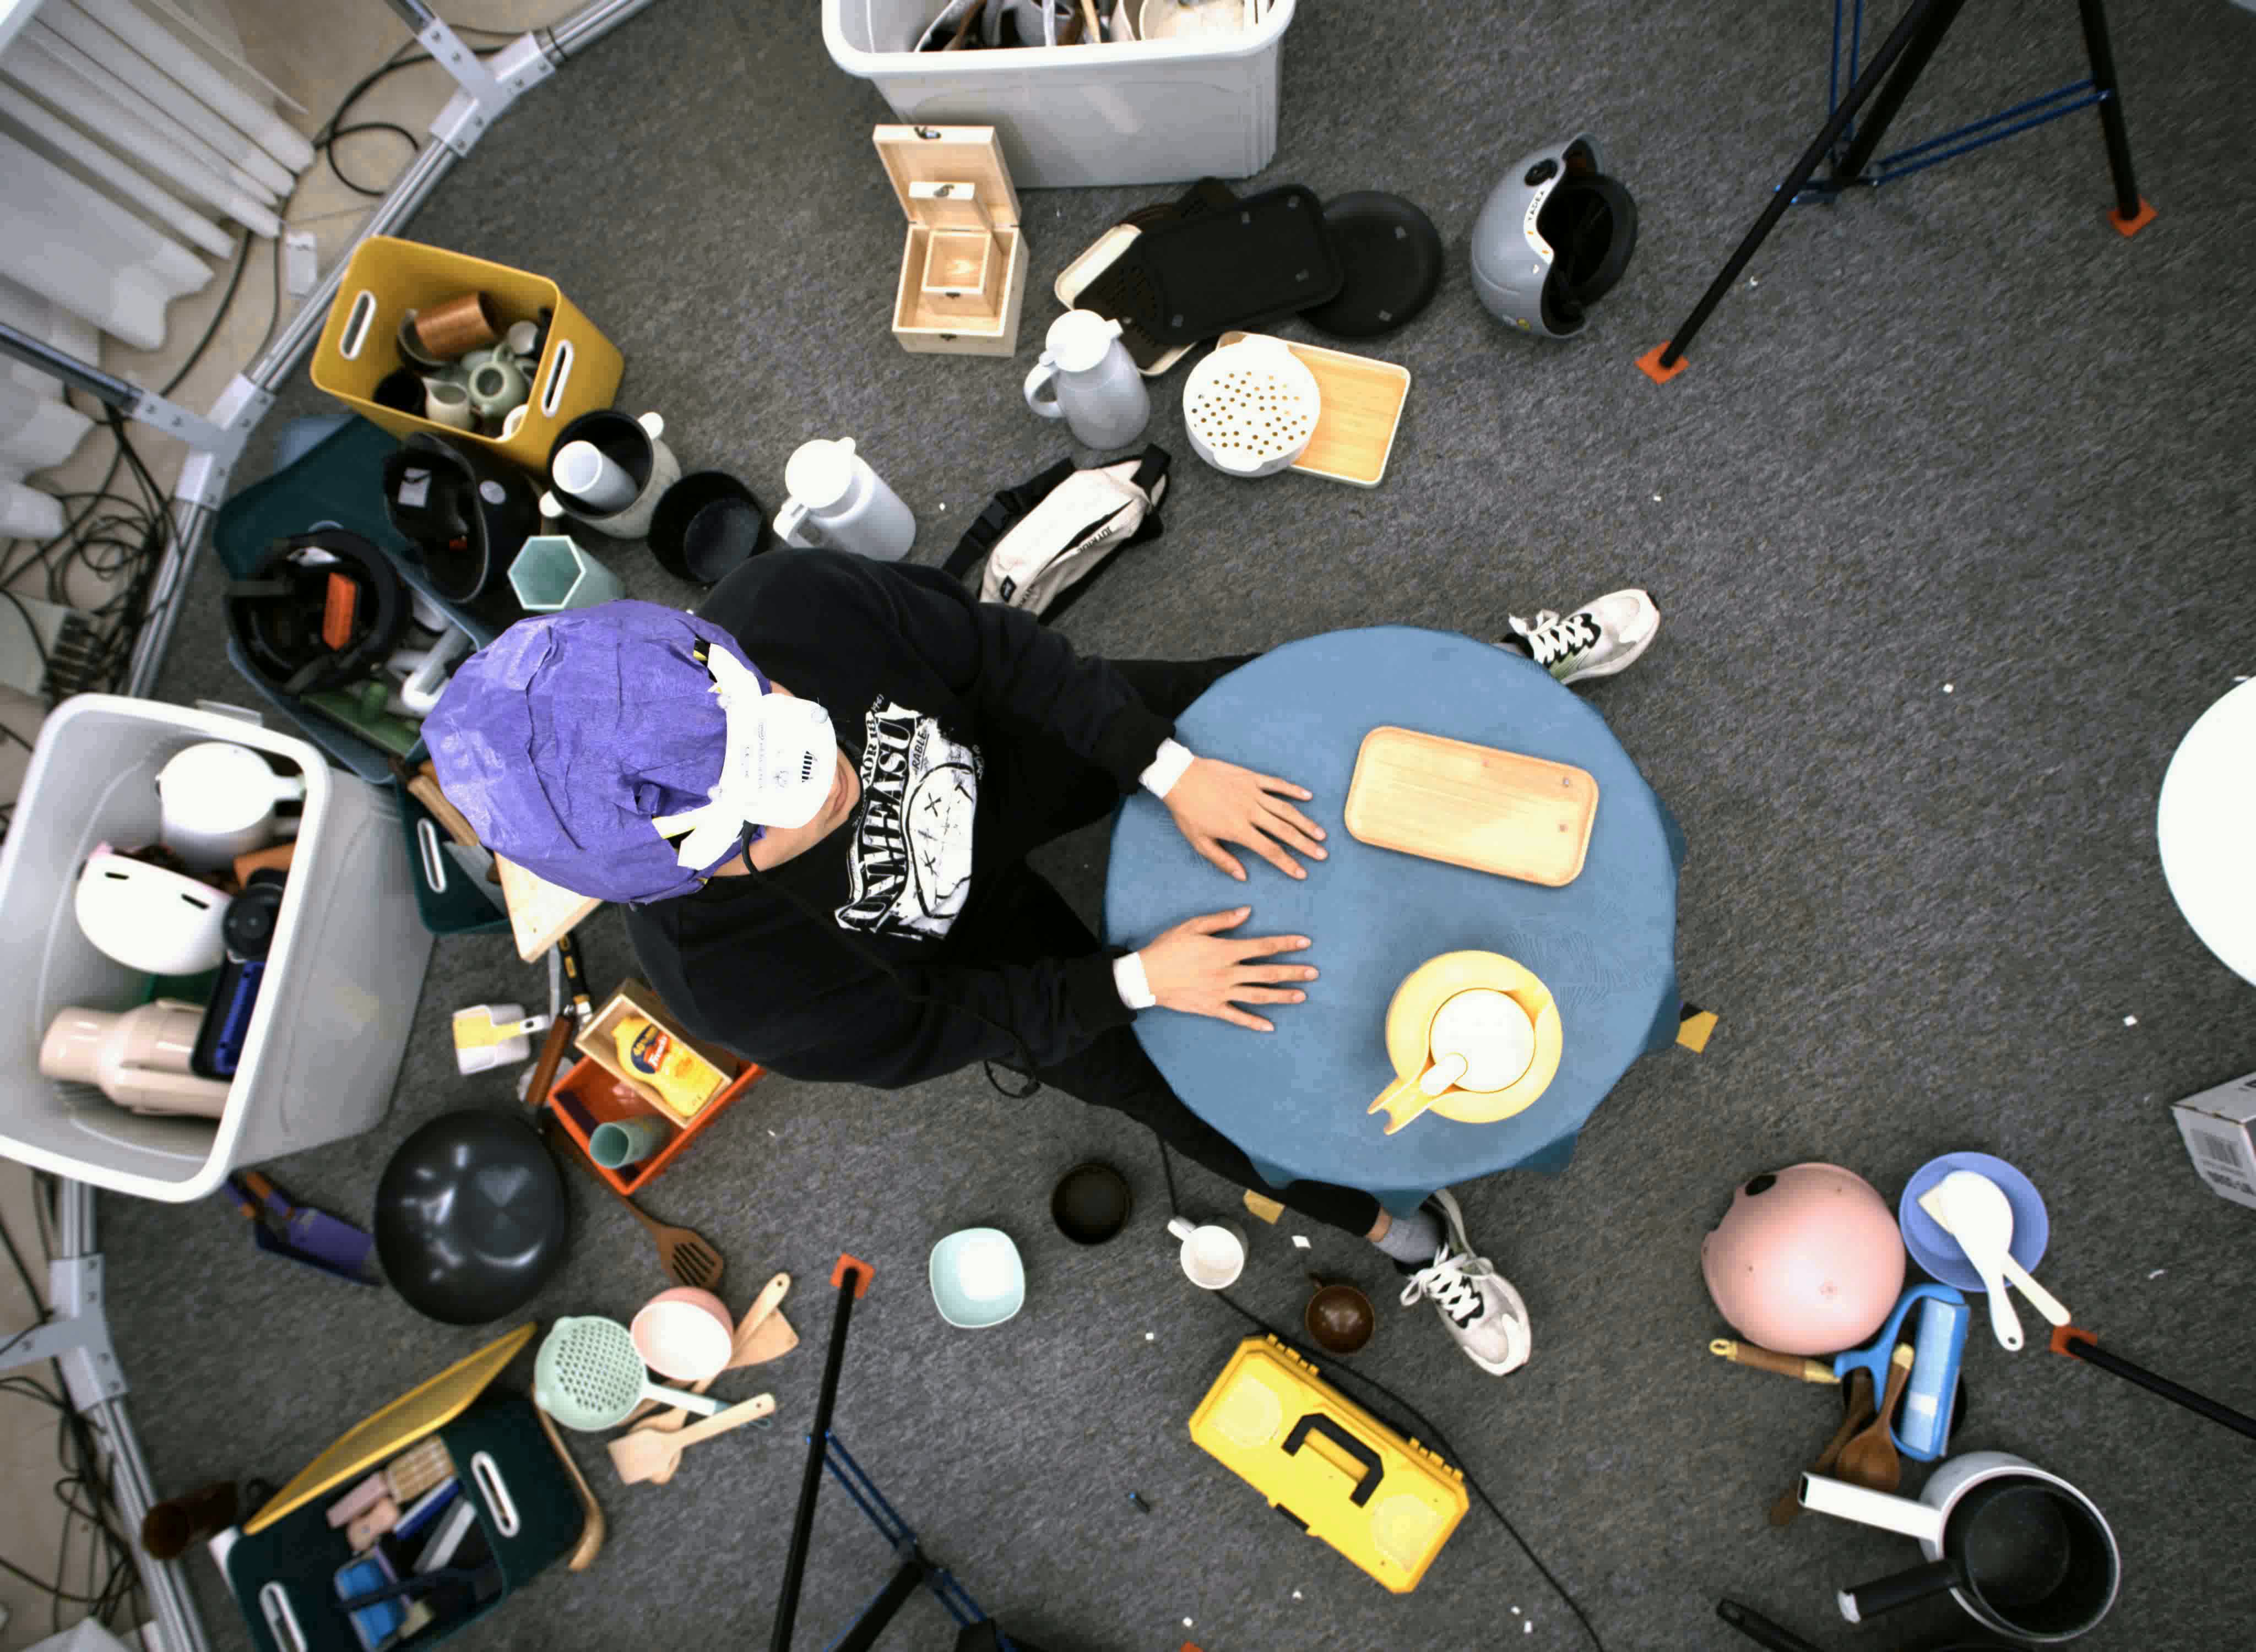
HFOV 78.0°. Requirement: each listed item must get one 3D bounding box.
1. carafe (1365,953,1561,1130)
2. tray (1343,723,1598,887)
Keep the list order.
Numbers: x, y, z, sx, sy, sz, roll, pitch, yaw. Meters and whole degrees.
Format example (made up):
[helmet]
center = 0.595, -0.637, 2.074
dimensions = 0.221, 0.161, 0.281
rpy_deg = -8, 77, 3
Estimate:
[carafe]
center = 0.310, 0.210, 1.313
dimensions = 0.203, 0.261, 0.162
rpy_deg = -38, 77, 3
[tray]
center = 0.357, -0.024, 1.440
dimensions = 0.251, 0.023, 0.130
rpy_deg = 15, 88, 12
